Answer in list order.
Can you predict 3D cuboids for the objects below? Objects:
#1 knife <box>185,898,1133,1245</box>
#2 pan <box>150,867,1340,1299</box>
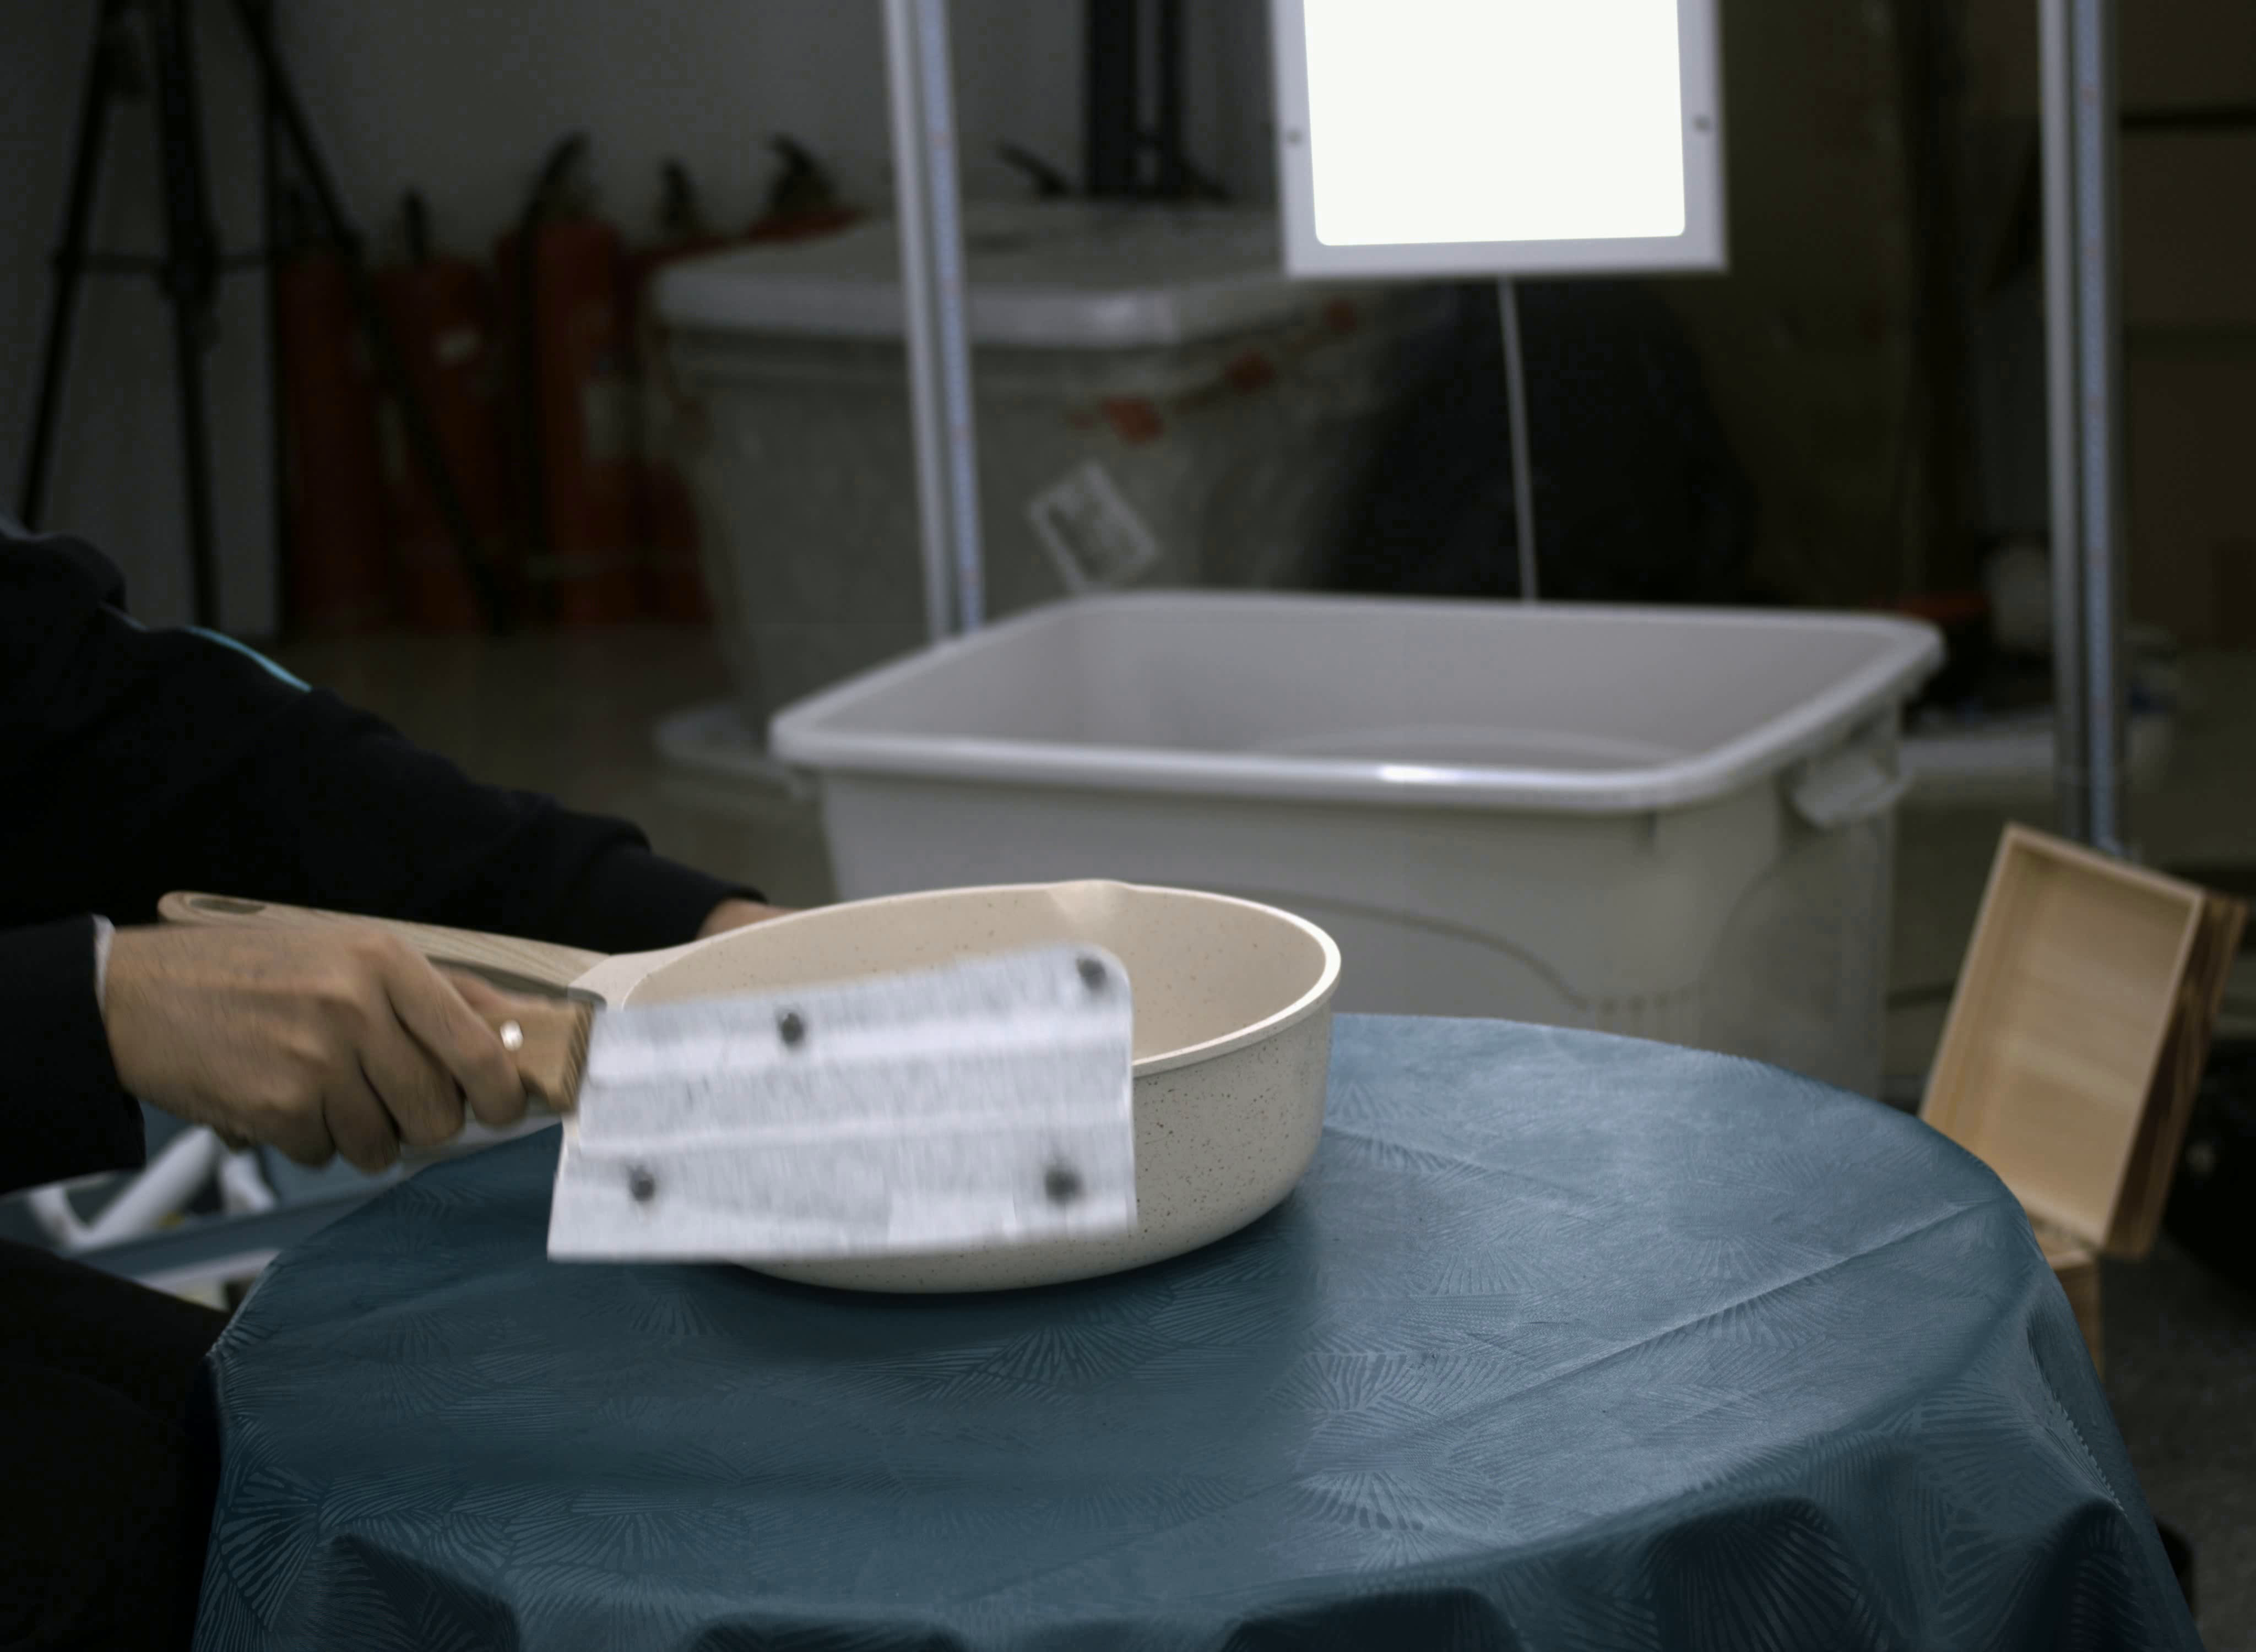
[{"bbox_3d":[-0.145,0.077,1.694,0.319,0.113,0.021,-3,-29,19],"label":"knife"},{"bbox_3d":[-0.137,0.082,1.919,0.440,0.102,0.259,0,17,20],"label":"pan"}]
